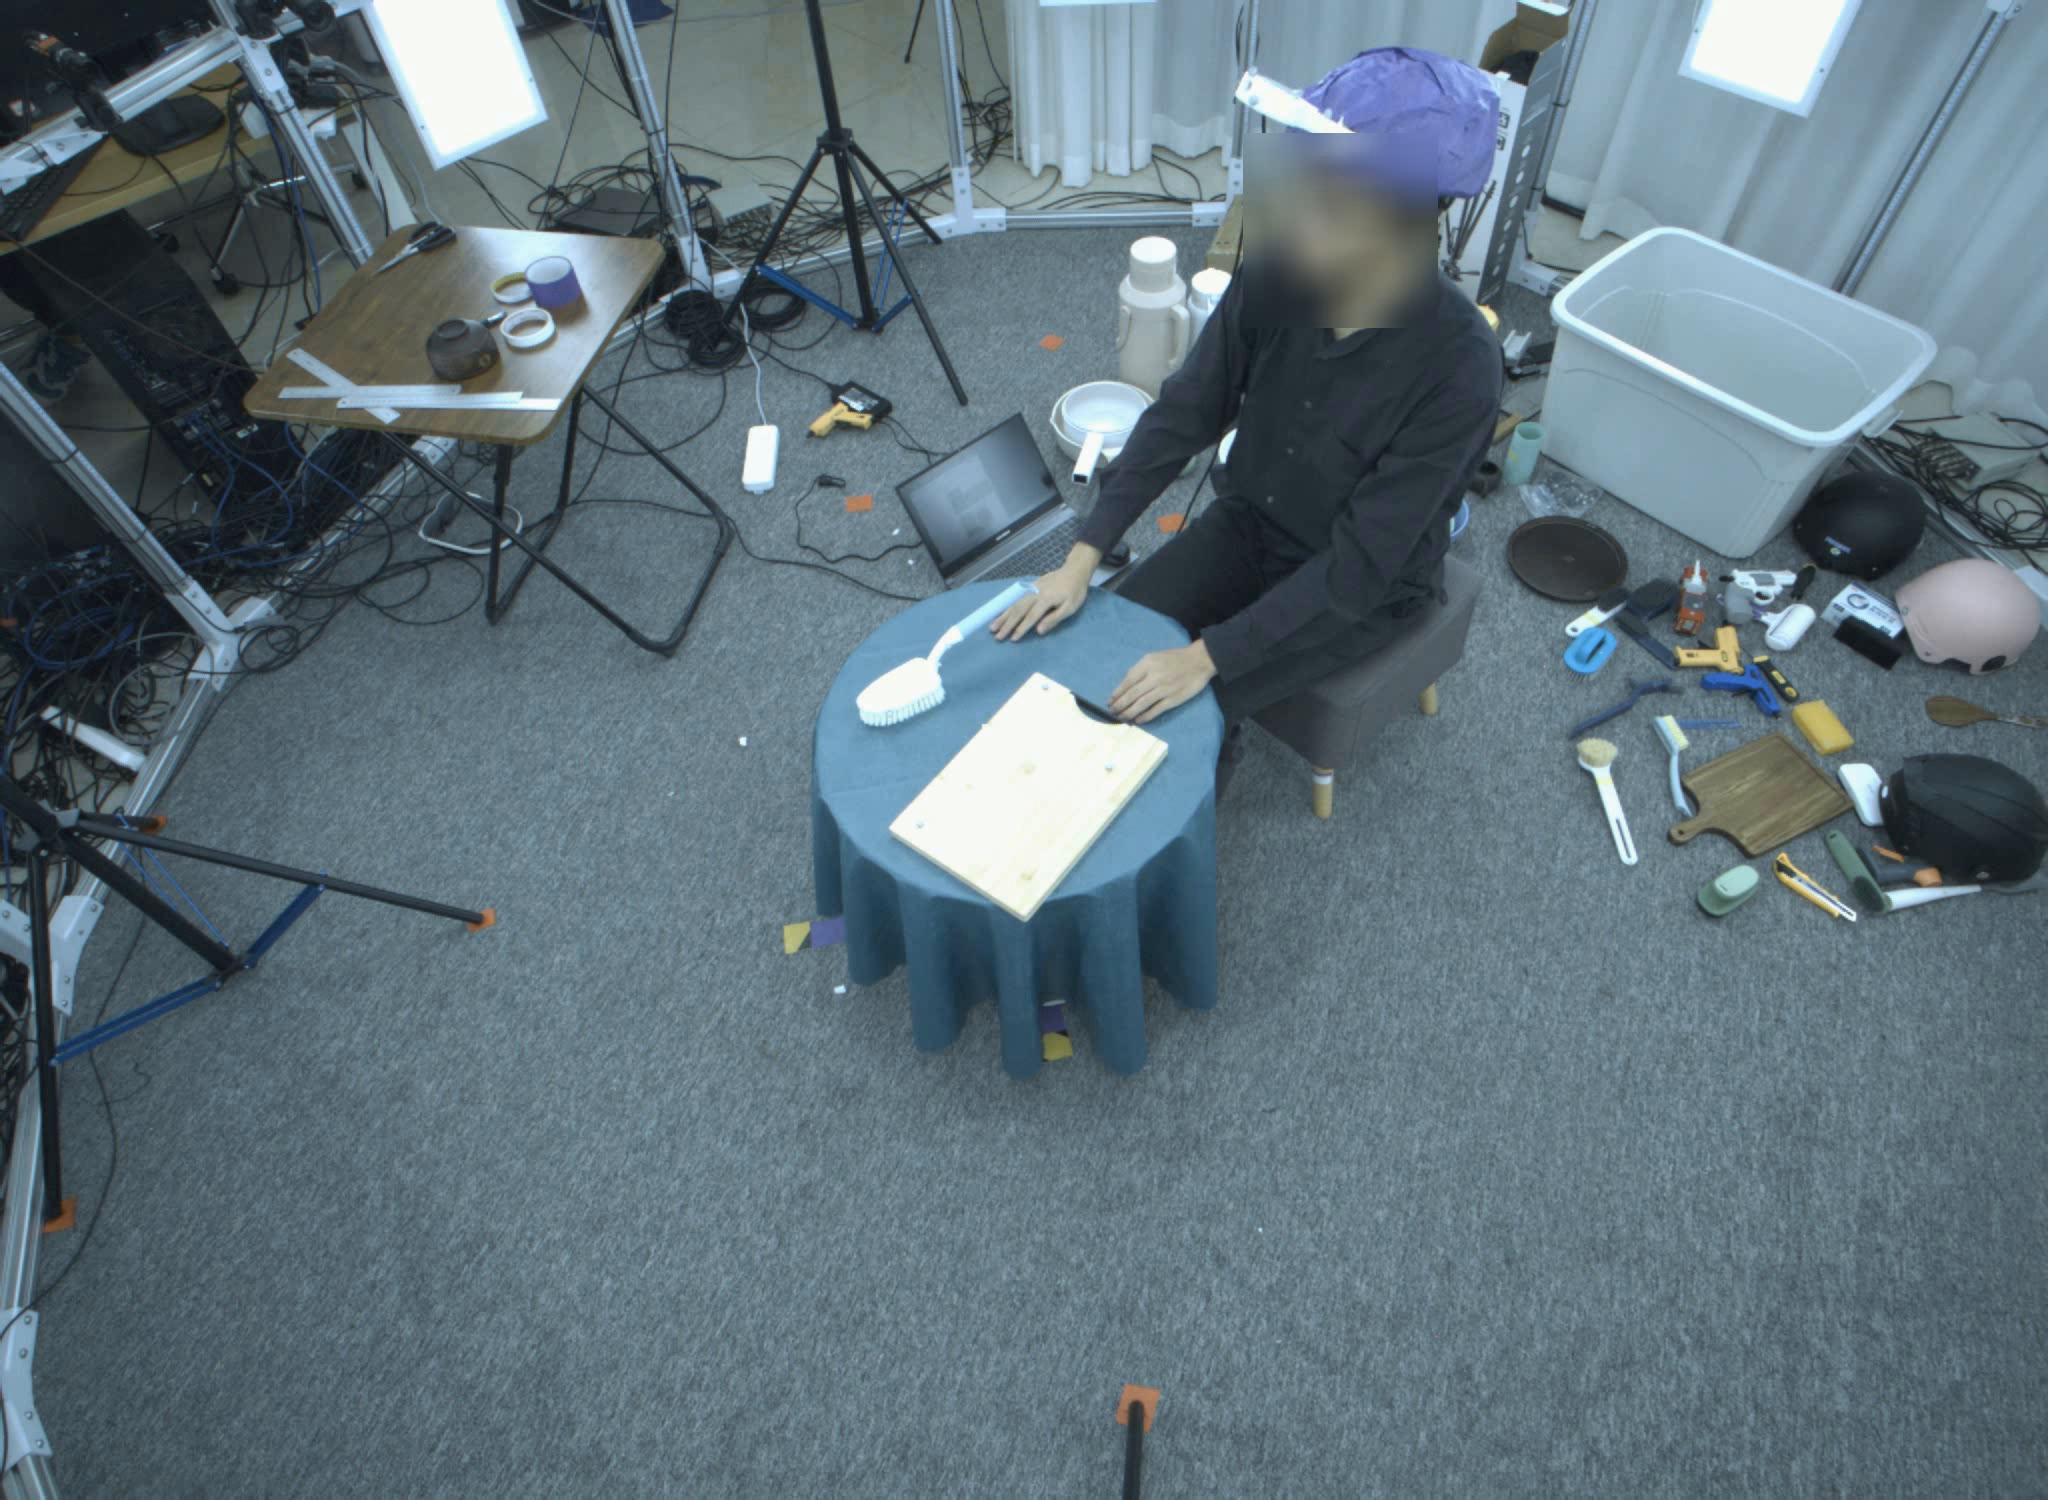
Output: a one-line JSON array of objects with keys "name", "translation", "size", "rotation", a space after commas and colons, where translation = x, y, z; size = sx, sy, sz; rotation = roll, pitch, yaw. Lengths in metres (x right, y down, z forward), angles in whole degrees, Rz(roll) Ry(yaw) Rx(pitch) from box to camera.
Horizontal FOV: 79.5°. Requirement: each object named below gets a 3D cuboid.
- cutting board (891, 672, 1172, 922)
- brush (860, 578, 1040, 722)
[{"name": "cutting board", "translation": [0.012, 0.055, 1.737], "size": [0.247, 0.024, 0.350], "rotation": [30, 61, 20]}, {"name": "brush", "translation": [-0.102, -0.140, 1.840], "size": [0.326, 0.084, 0.083], "rotation": [-36, 97, -8]}]
